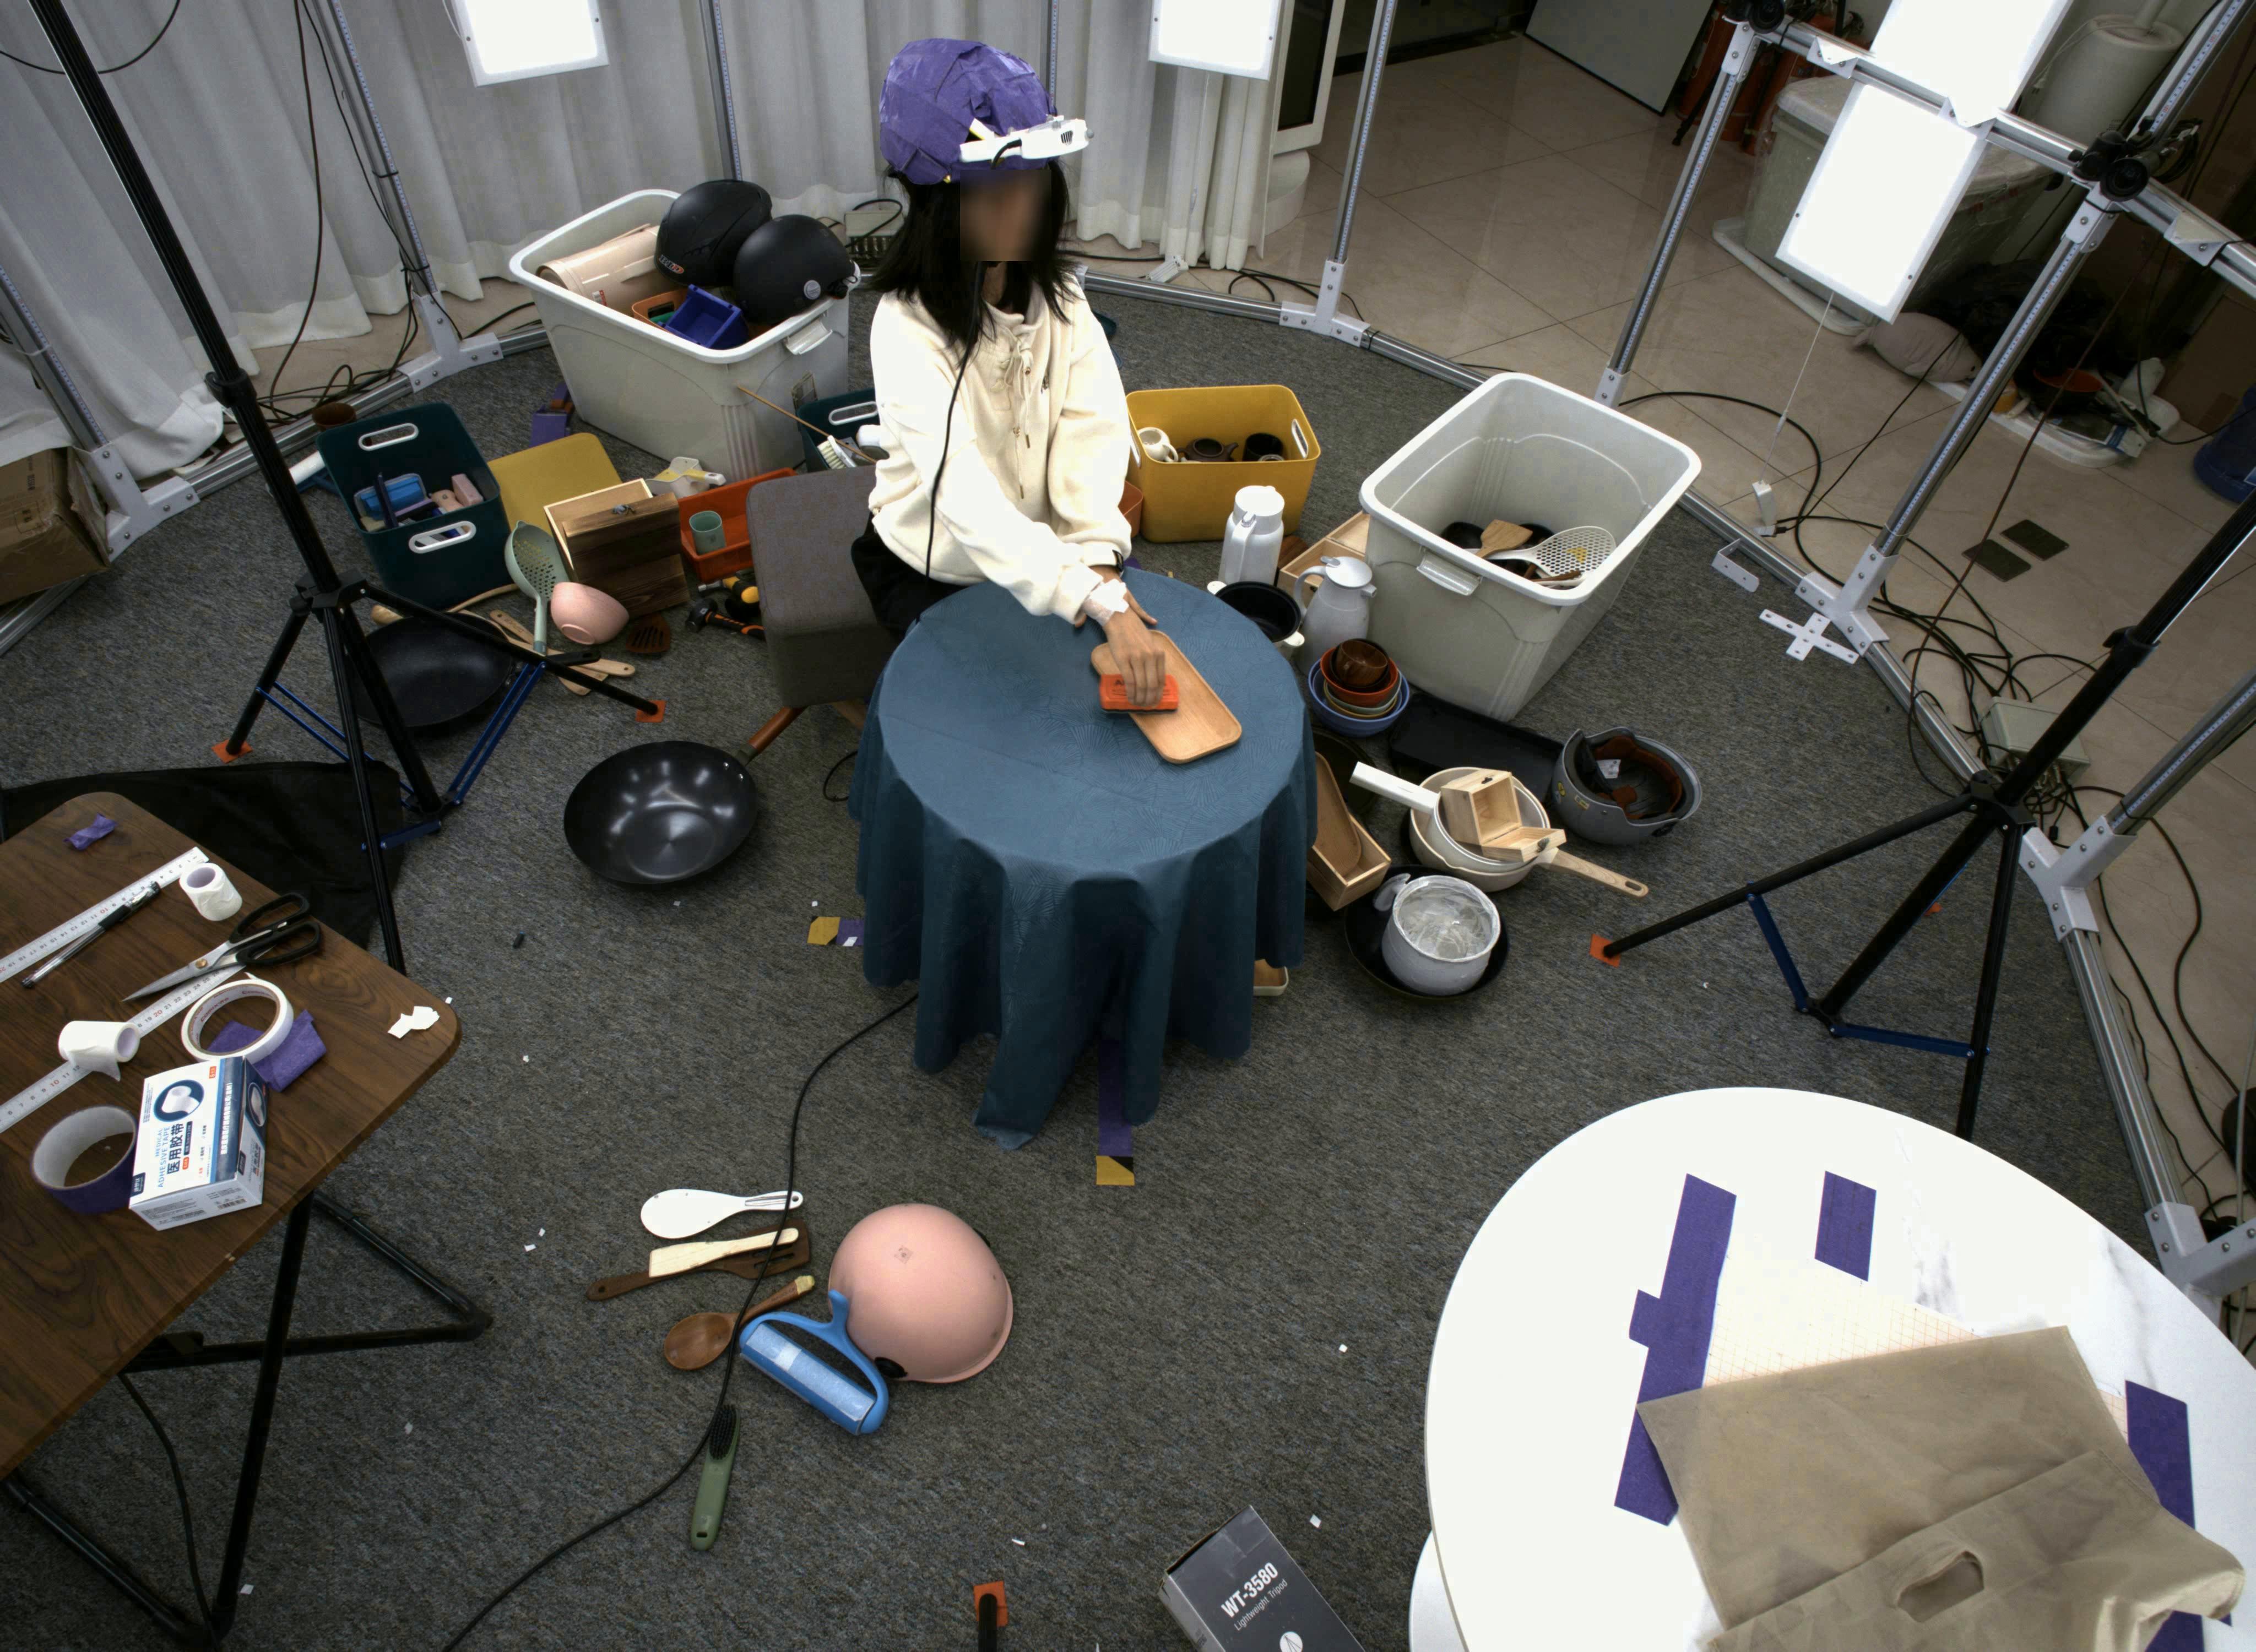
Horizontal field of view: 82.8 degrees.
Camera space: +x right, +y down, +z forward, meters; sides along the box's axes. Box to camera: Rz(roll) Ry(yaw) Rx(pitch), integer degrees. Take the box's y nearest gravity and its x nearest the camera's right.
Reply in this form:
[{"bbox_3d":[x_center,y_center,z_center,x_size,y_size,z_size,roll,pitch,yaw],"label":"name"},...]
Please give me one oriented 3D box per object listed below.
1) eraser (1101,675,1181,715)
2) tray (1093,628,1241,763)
[{"bbox_3d":[0.019,-0.185,1.801,0.108,0.022,0.060,0,48,-10],"label":"eraser"},{"bbox_3d":[0.053,-0.188,1.825,0.131,0.022,0.256,-18,52,-21],"label":"tray"}]
